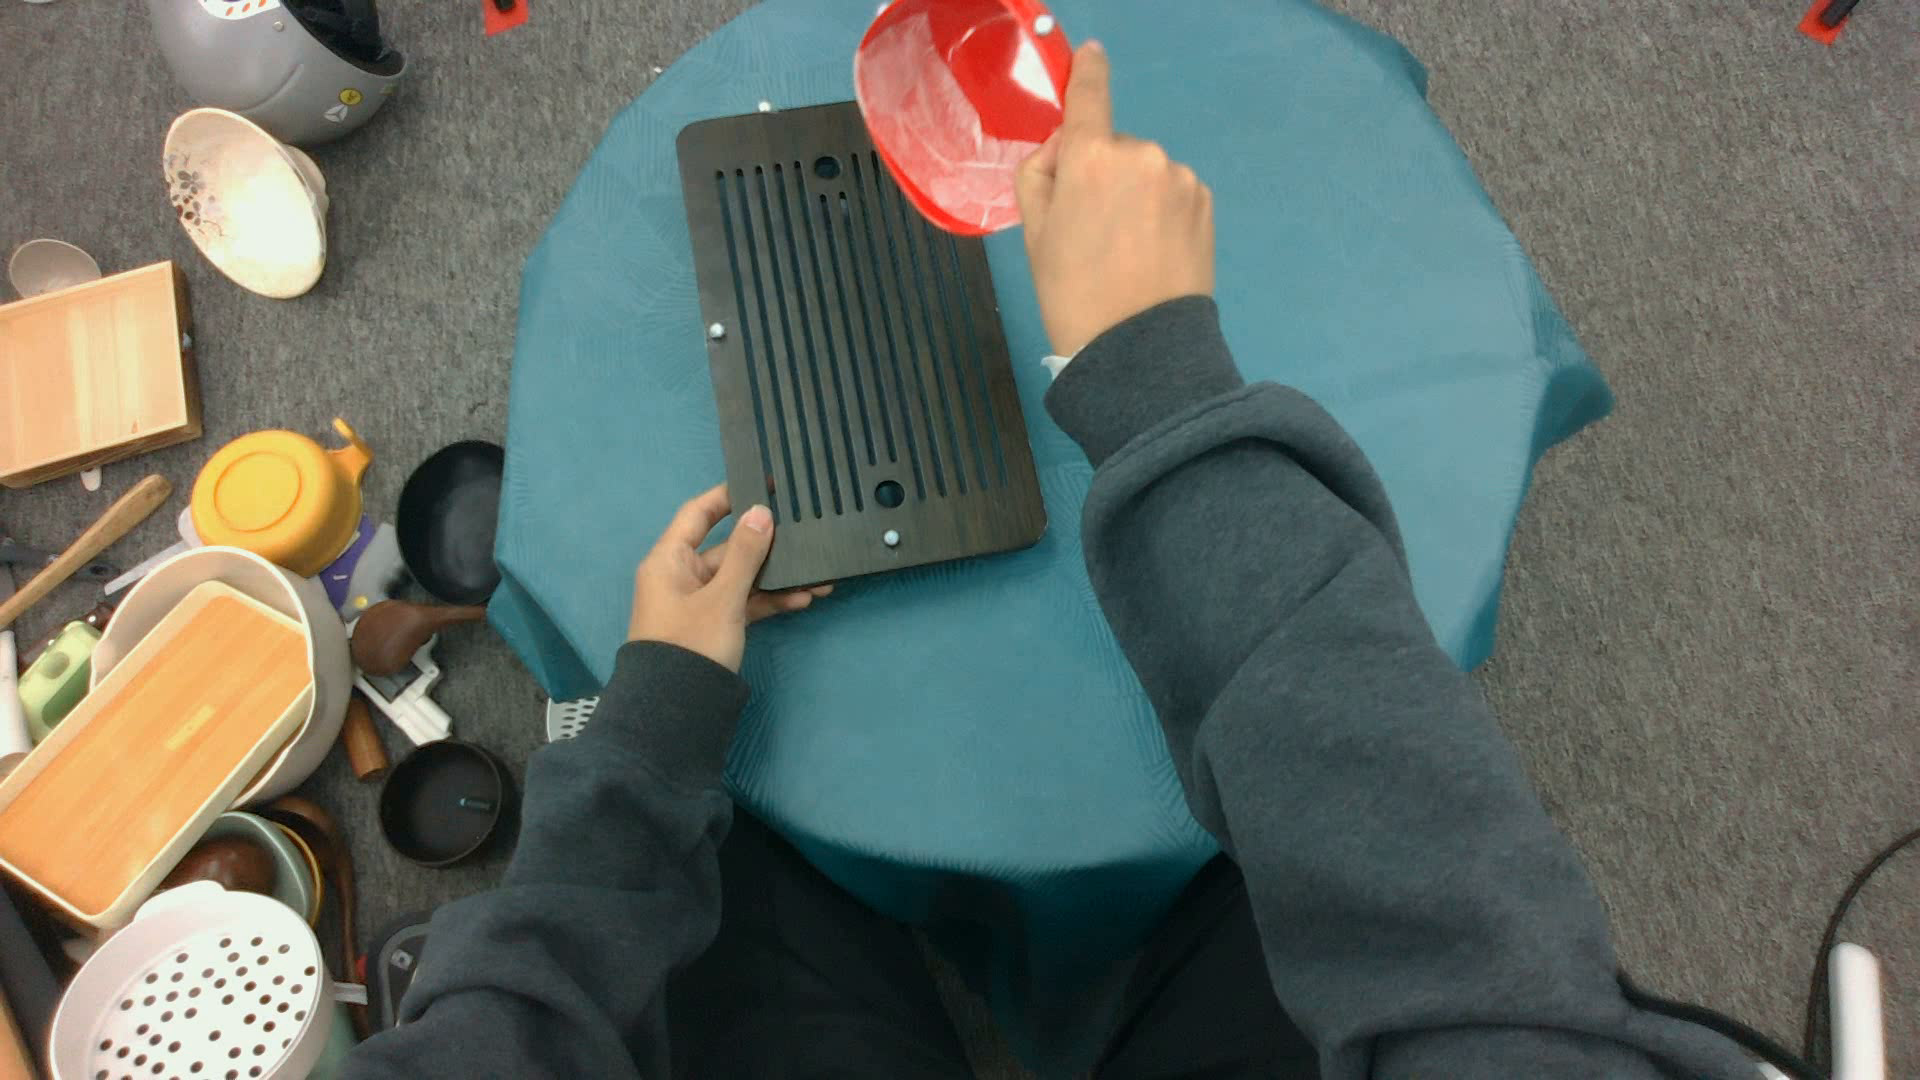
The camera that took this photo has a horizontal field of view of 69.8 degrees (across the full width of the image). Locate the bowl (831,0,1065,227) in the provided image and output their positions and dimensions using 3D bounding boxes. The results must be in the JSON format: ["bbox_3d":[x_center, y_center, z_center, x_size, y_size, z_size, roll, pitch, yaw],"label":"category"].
[{"bbox_3d":[0.003,-0.208,0.638,0.119,0.118,0.051,33,47,13],"label":"bowl"}]

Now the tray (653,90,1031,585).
[{"bbox_3d":[-0.073,-0.128,0.794,0.170,0.018,0.306,-10,70,-7],"label":"tray"}]
